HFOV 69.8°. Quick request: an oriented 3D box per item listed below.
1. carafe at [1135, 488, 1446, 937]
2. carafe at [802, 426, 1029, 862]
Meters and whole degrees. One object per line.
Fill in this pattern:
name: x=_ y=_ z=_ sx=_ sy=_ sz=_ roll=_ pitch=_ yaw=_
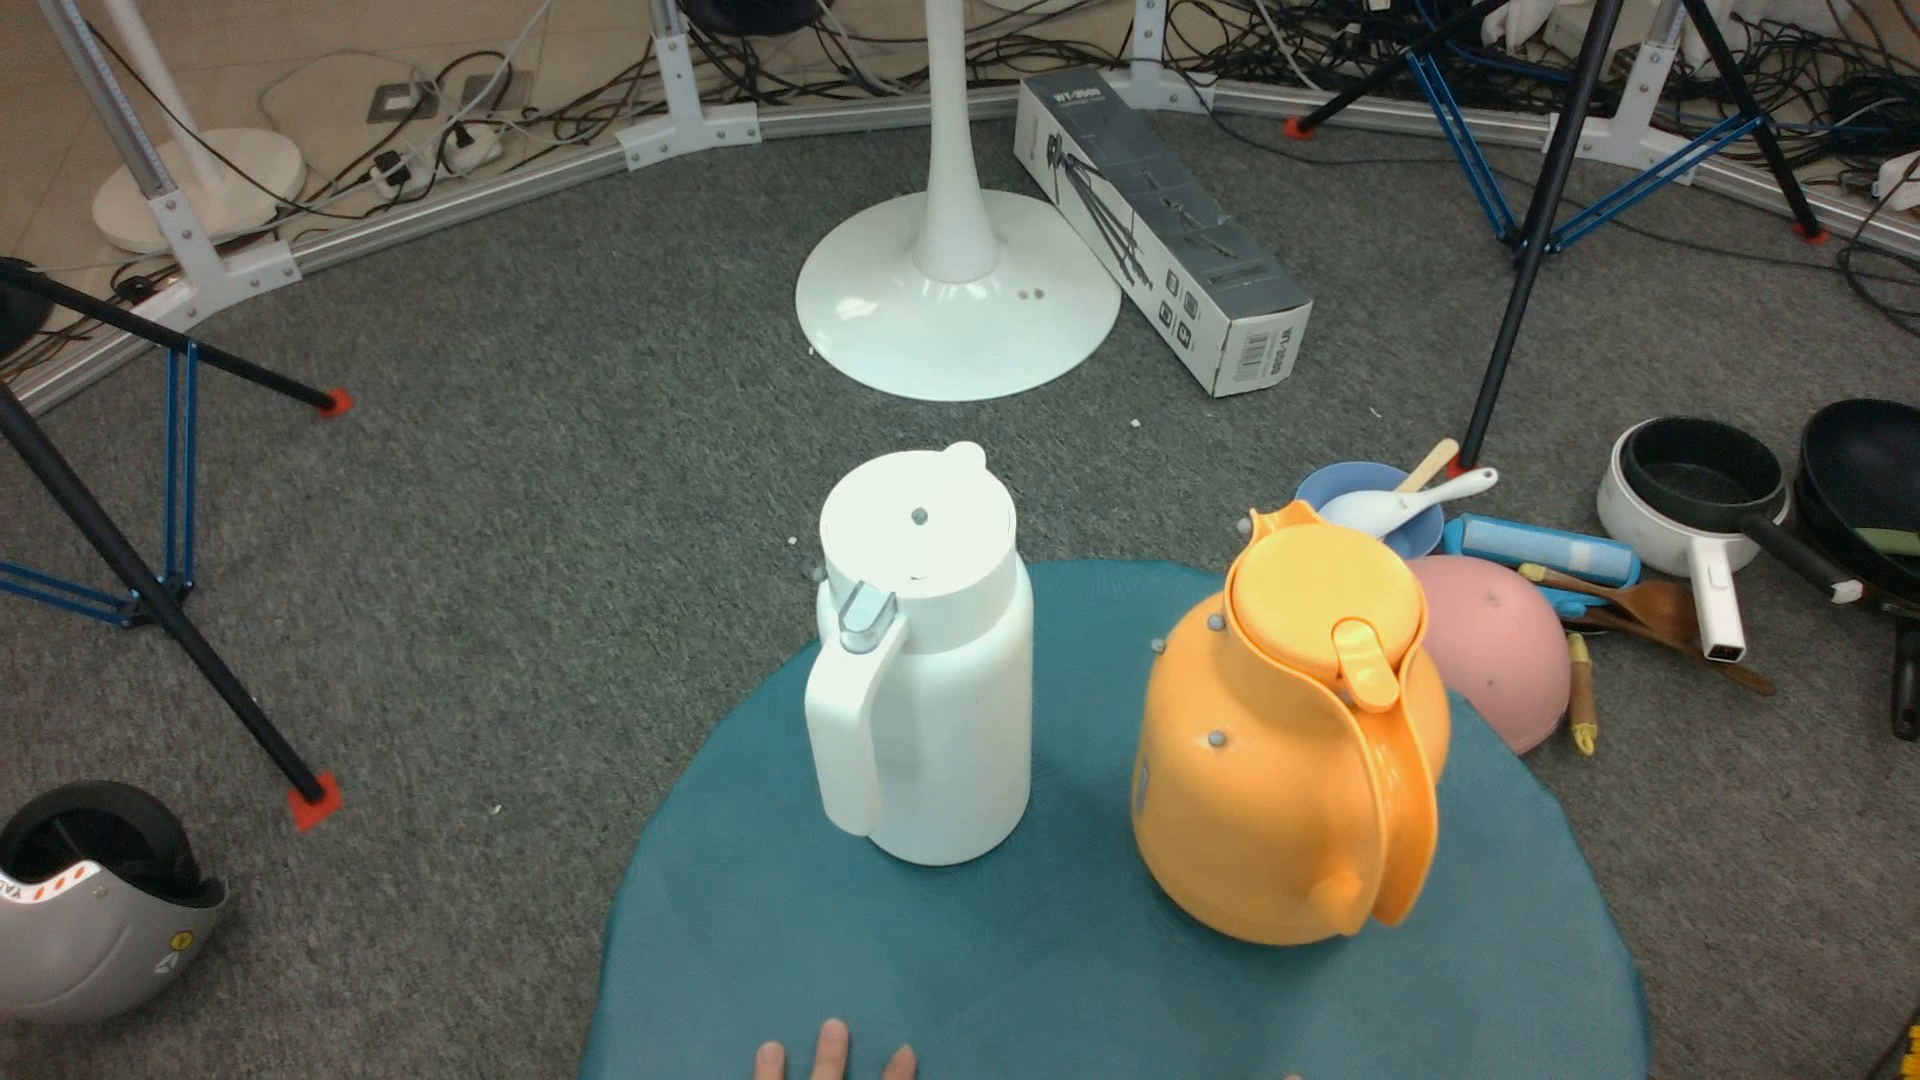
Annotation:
carafe: x=0.184 y=0.113 z=0.747 sx=0.163 sy=0.259 sz=0.203 roll=-10 pitch=49 yaw=-3
carafe: x=-0.025 y=0.084 z=0.774 sx=0.124 sy=0.267 sz=0.173 roll=18 pitch=53 yaw=14
